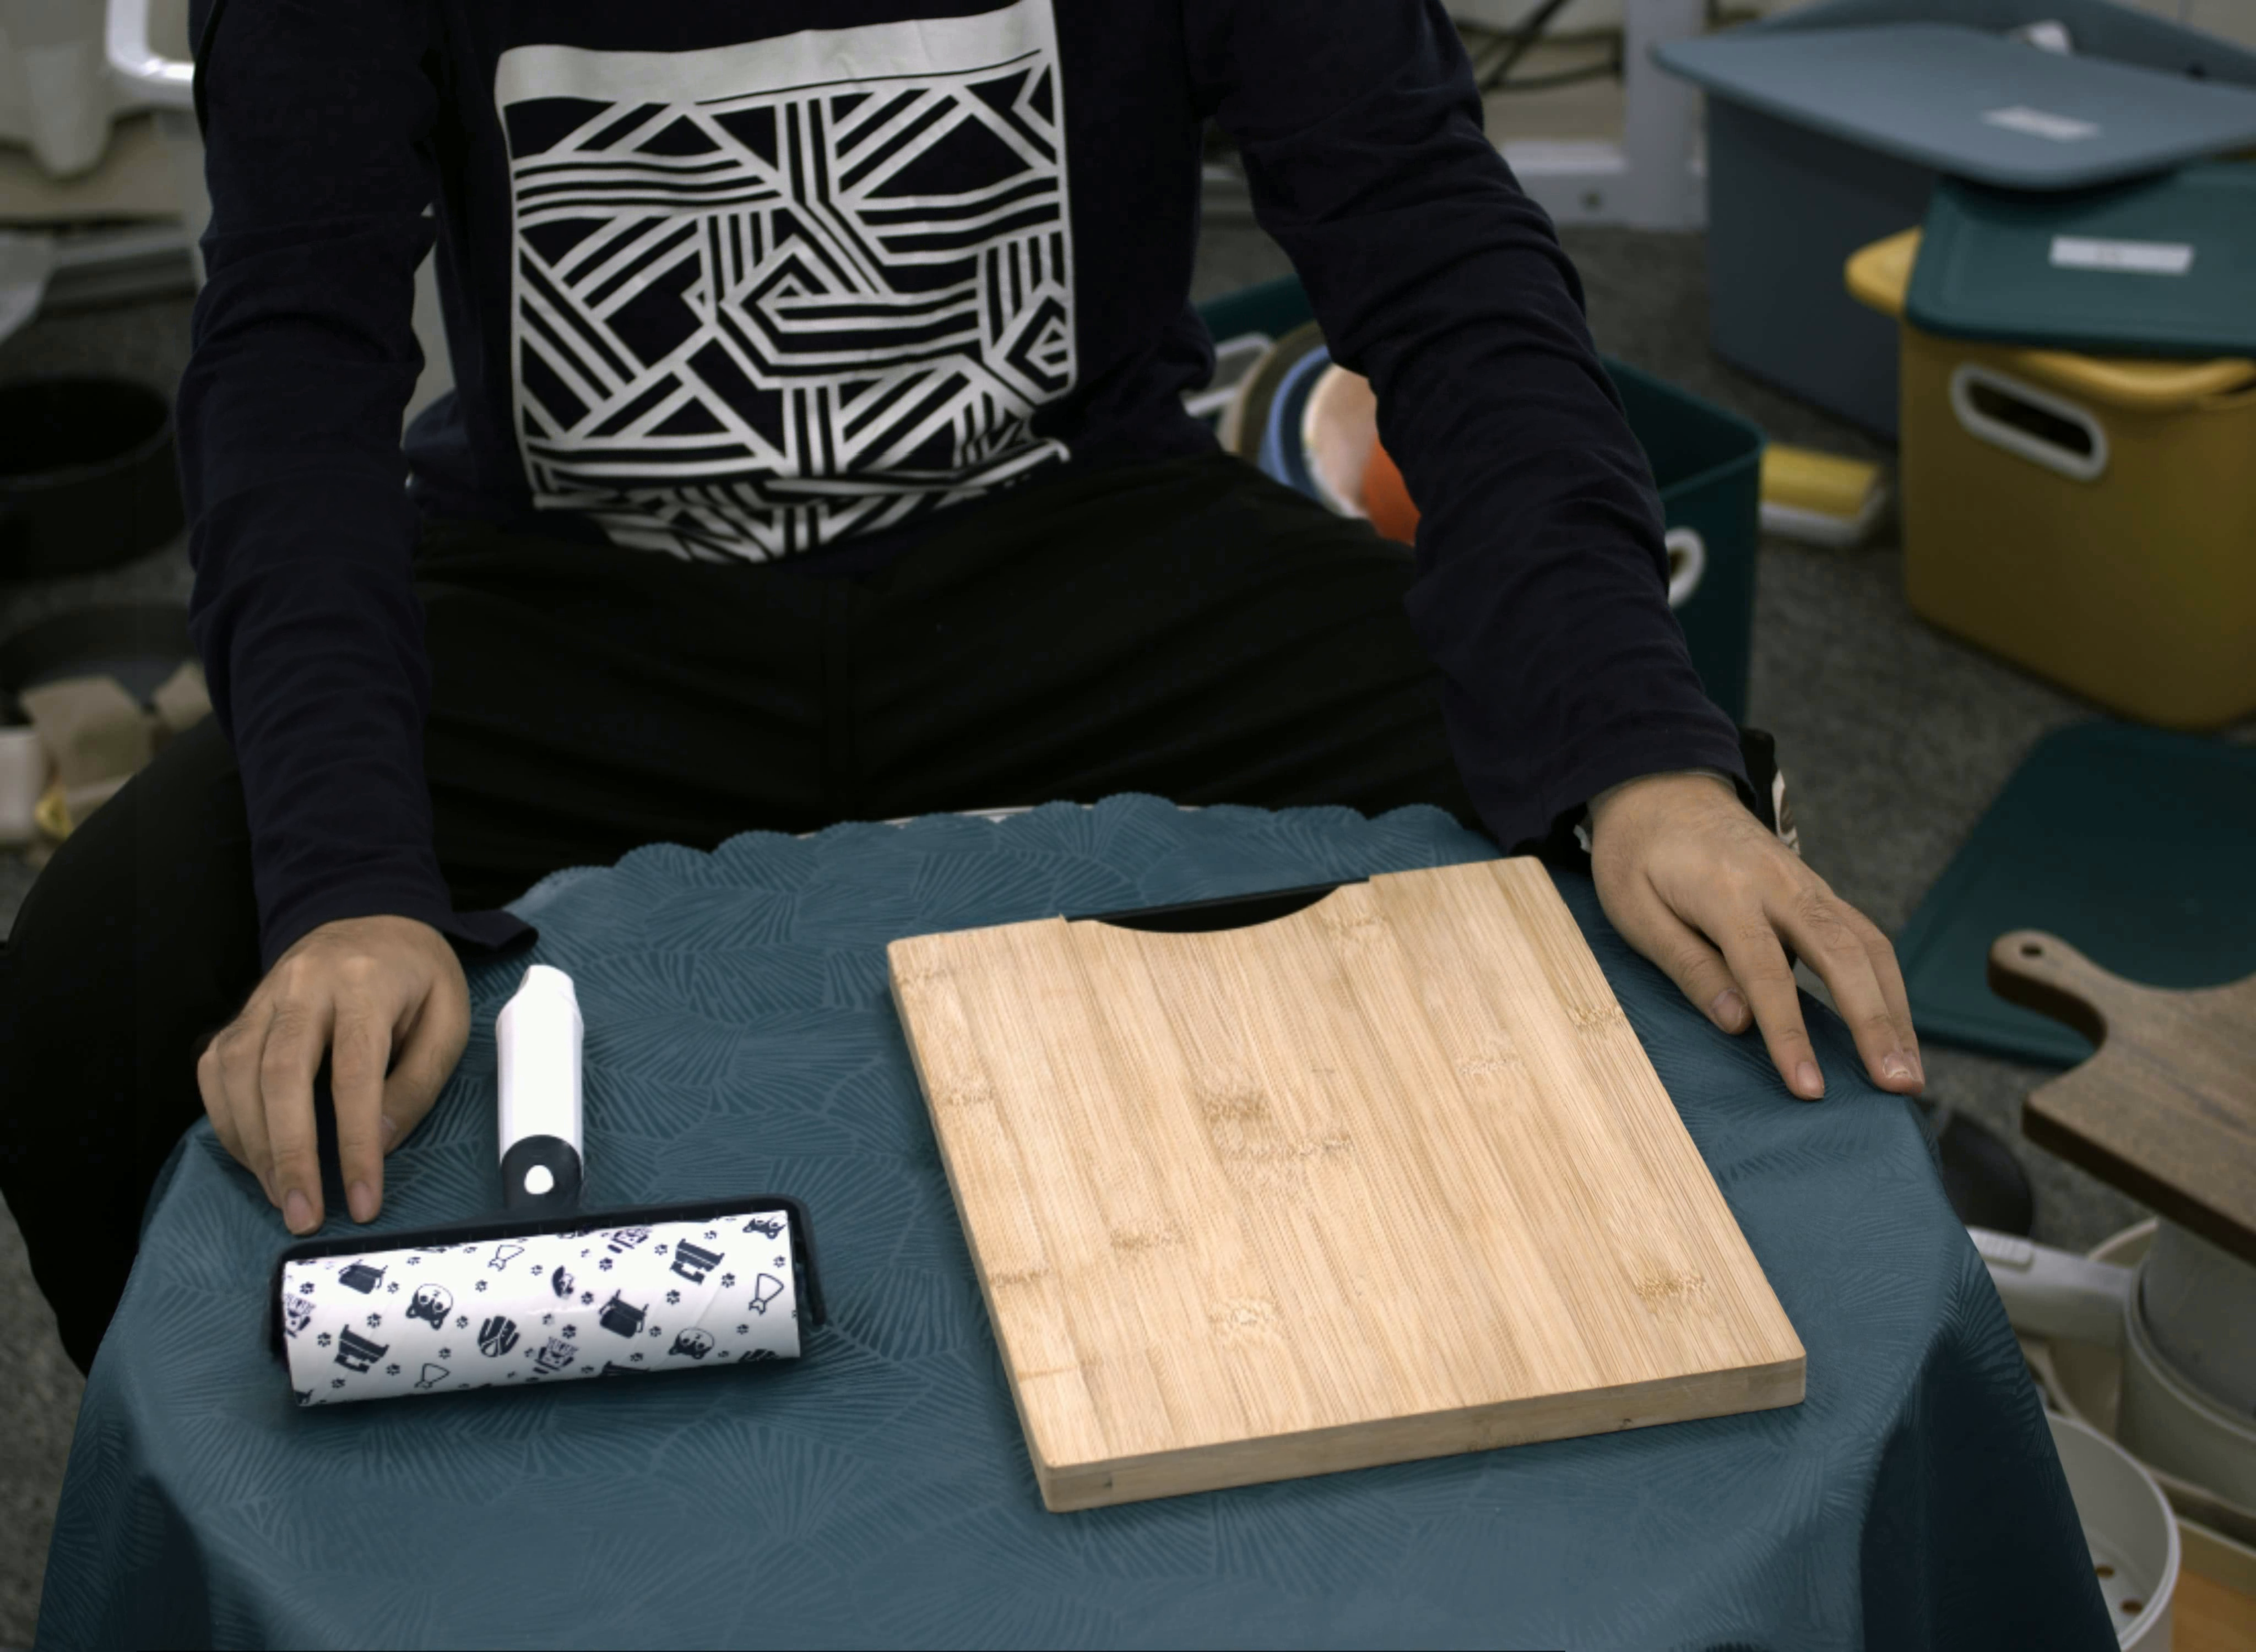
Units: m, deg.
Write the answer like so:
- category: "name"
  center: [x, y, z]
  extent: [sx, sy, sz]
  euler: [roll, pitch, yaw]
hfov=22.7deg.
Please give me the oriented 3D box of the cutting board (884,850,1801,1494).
- category: "cutting board"
  center: [0.060, 0.108, 1.865]
  extent: [0.250, 0.023, 0.353]
  euler: [-7, 27, -9]

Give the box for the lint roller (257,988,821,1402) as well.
- category: "lint roller"
  center: [-0.197, 0.109, 1.861]
  extent: [0.176, 0.050, 0.250]
  euler: [-6, 25, -5]
